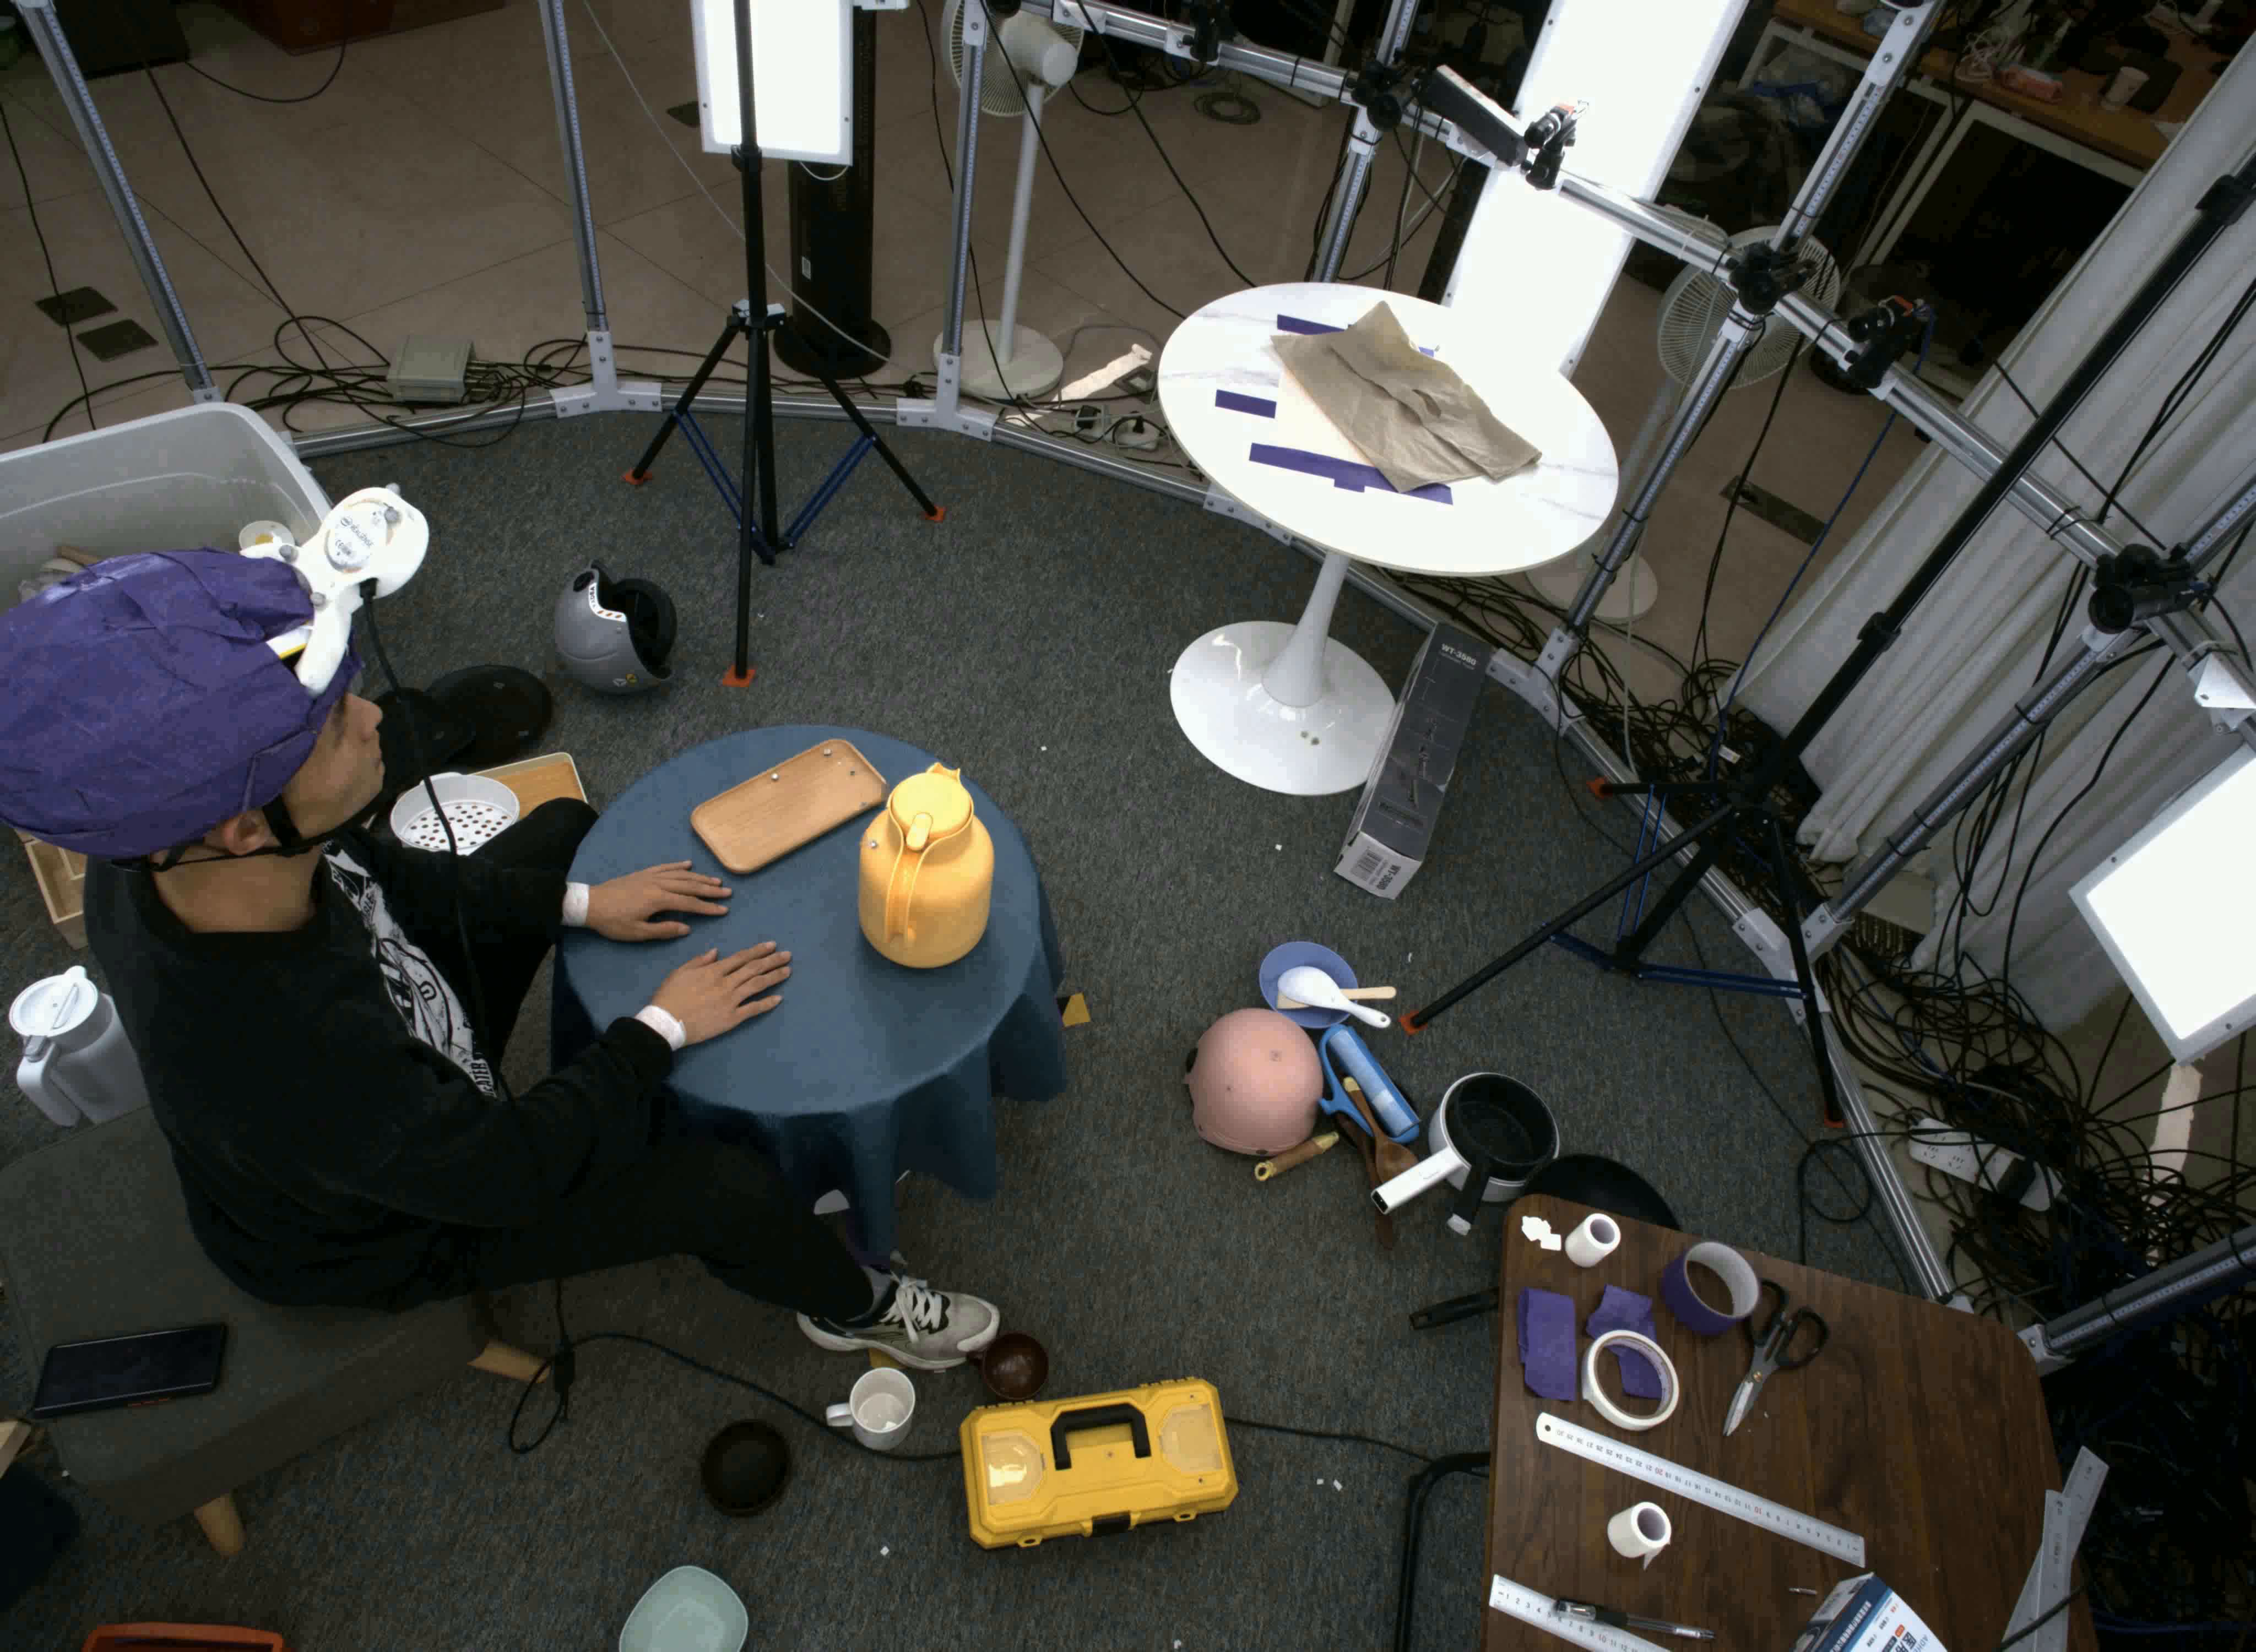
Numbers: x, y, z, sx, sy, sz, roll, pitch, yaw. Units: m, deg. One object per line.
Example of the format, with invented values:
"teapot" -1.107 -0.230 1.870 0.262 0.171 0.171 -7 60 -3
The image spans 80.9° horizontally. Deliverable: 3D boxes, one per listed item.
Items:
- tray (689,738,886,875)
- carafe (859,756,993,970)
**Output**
"tray" -0.451 -0.029 1.725 0.251 0.023 0.127 -32 64 -31
"carafe" -0.249 0.057 1.554 0.161 0.267 0.200 15 49 3
